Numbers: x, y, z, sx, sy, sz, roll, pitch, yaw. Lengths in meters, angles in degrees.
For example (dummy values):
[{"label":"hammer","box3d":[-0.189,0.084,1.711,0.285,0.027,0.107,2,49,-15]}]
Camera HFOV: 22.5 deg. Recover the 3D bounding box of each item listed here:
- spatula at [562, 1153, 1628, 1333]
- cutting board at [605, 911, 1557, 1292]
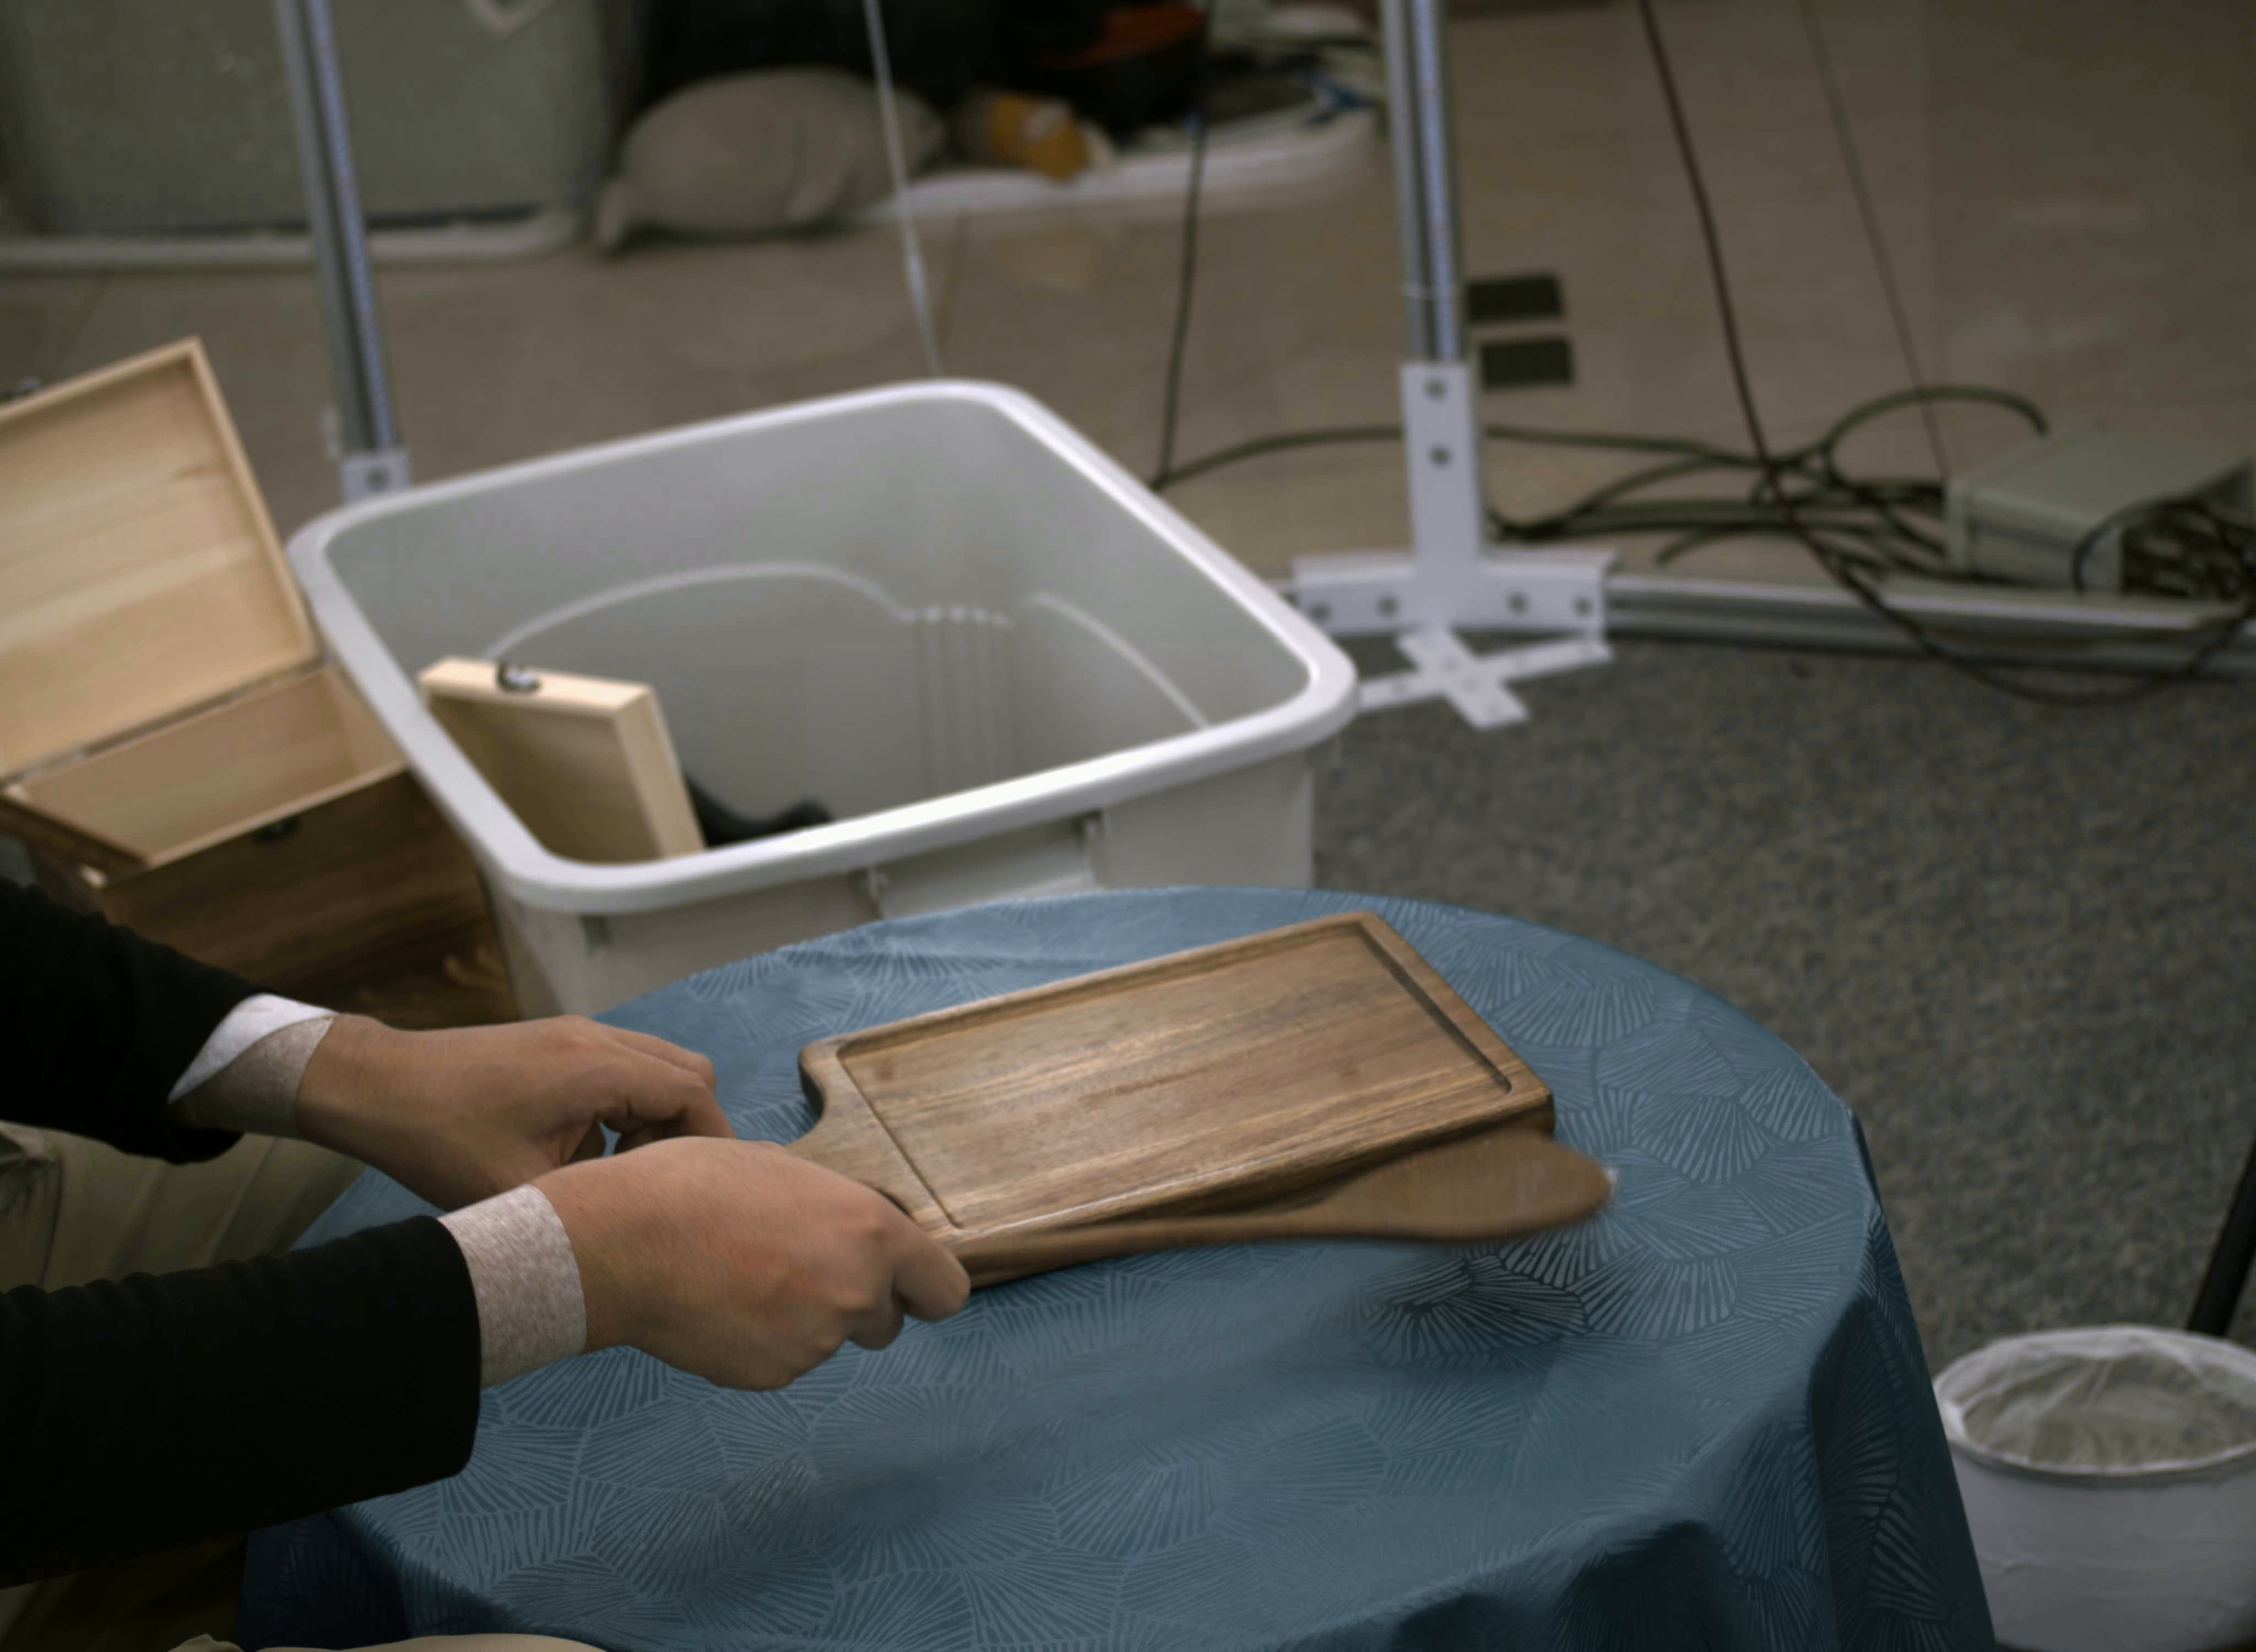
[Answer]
[{"label":"spatula","box3d":[-0.010,0.149,1.991,0.385,0.016,0.095,-4,16,-18]},{"label":"cutting board","box3d":[-0.032,0.114,2.185,0.351,0.023,0.198,-14,26,-15]}]
